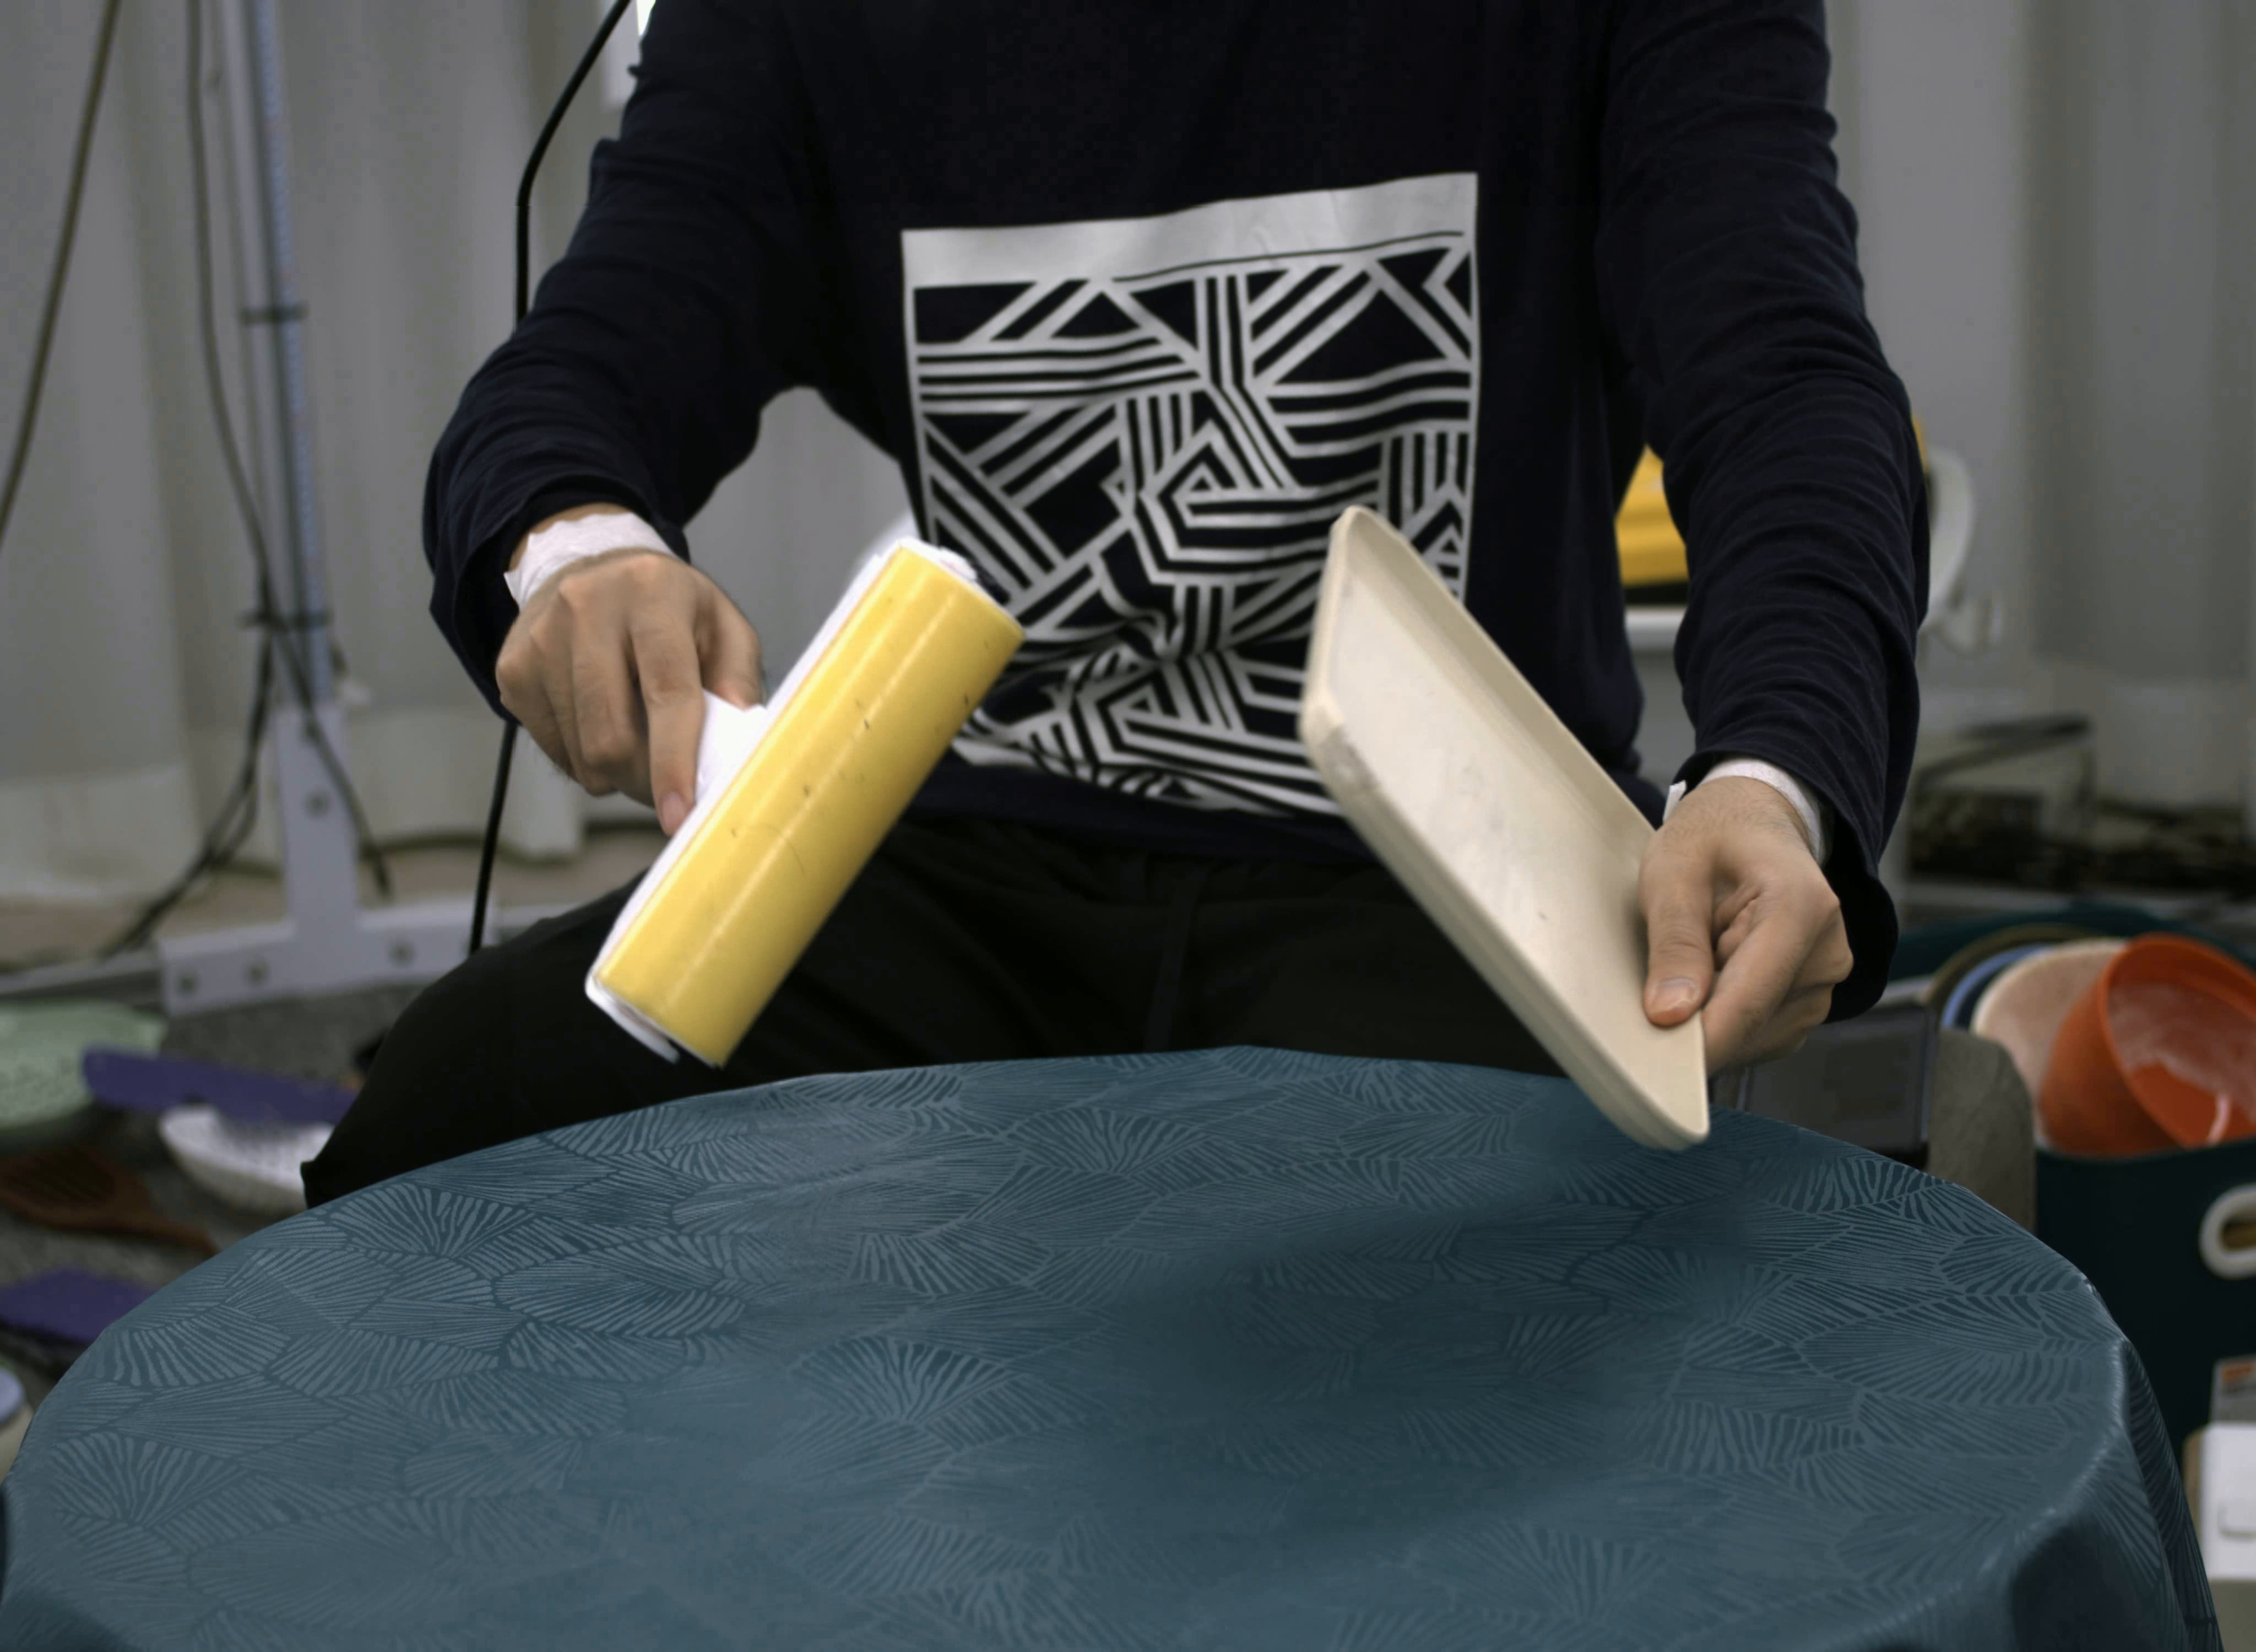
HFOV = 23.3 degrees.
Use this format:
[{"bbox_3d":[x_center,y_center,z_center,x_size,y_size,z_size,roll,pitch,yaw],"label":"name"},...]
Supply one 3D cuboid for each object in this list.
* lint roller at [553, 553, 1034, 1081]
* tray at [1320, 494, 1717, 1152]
[{"bbox_3d":[-0.135,-0.025,1.700,0.194,0.175,0.051,28,-9,47],"label":"lint roller"},{"bbox_3d":[0.111,-0.003,1.588,0.017,0.170,0.241,-36,12,15],"label":"tray"}]
